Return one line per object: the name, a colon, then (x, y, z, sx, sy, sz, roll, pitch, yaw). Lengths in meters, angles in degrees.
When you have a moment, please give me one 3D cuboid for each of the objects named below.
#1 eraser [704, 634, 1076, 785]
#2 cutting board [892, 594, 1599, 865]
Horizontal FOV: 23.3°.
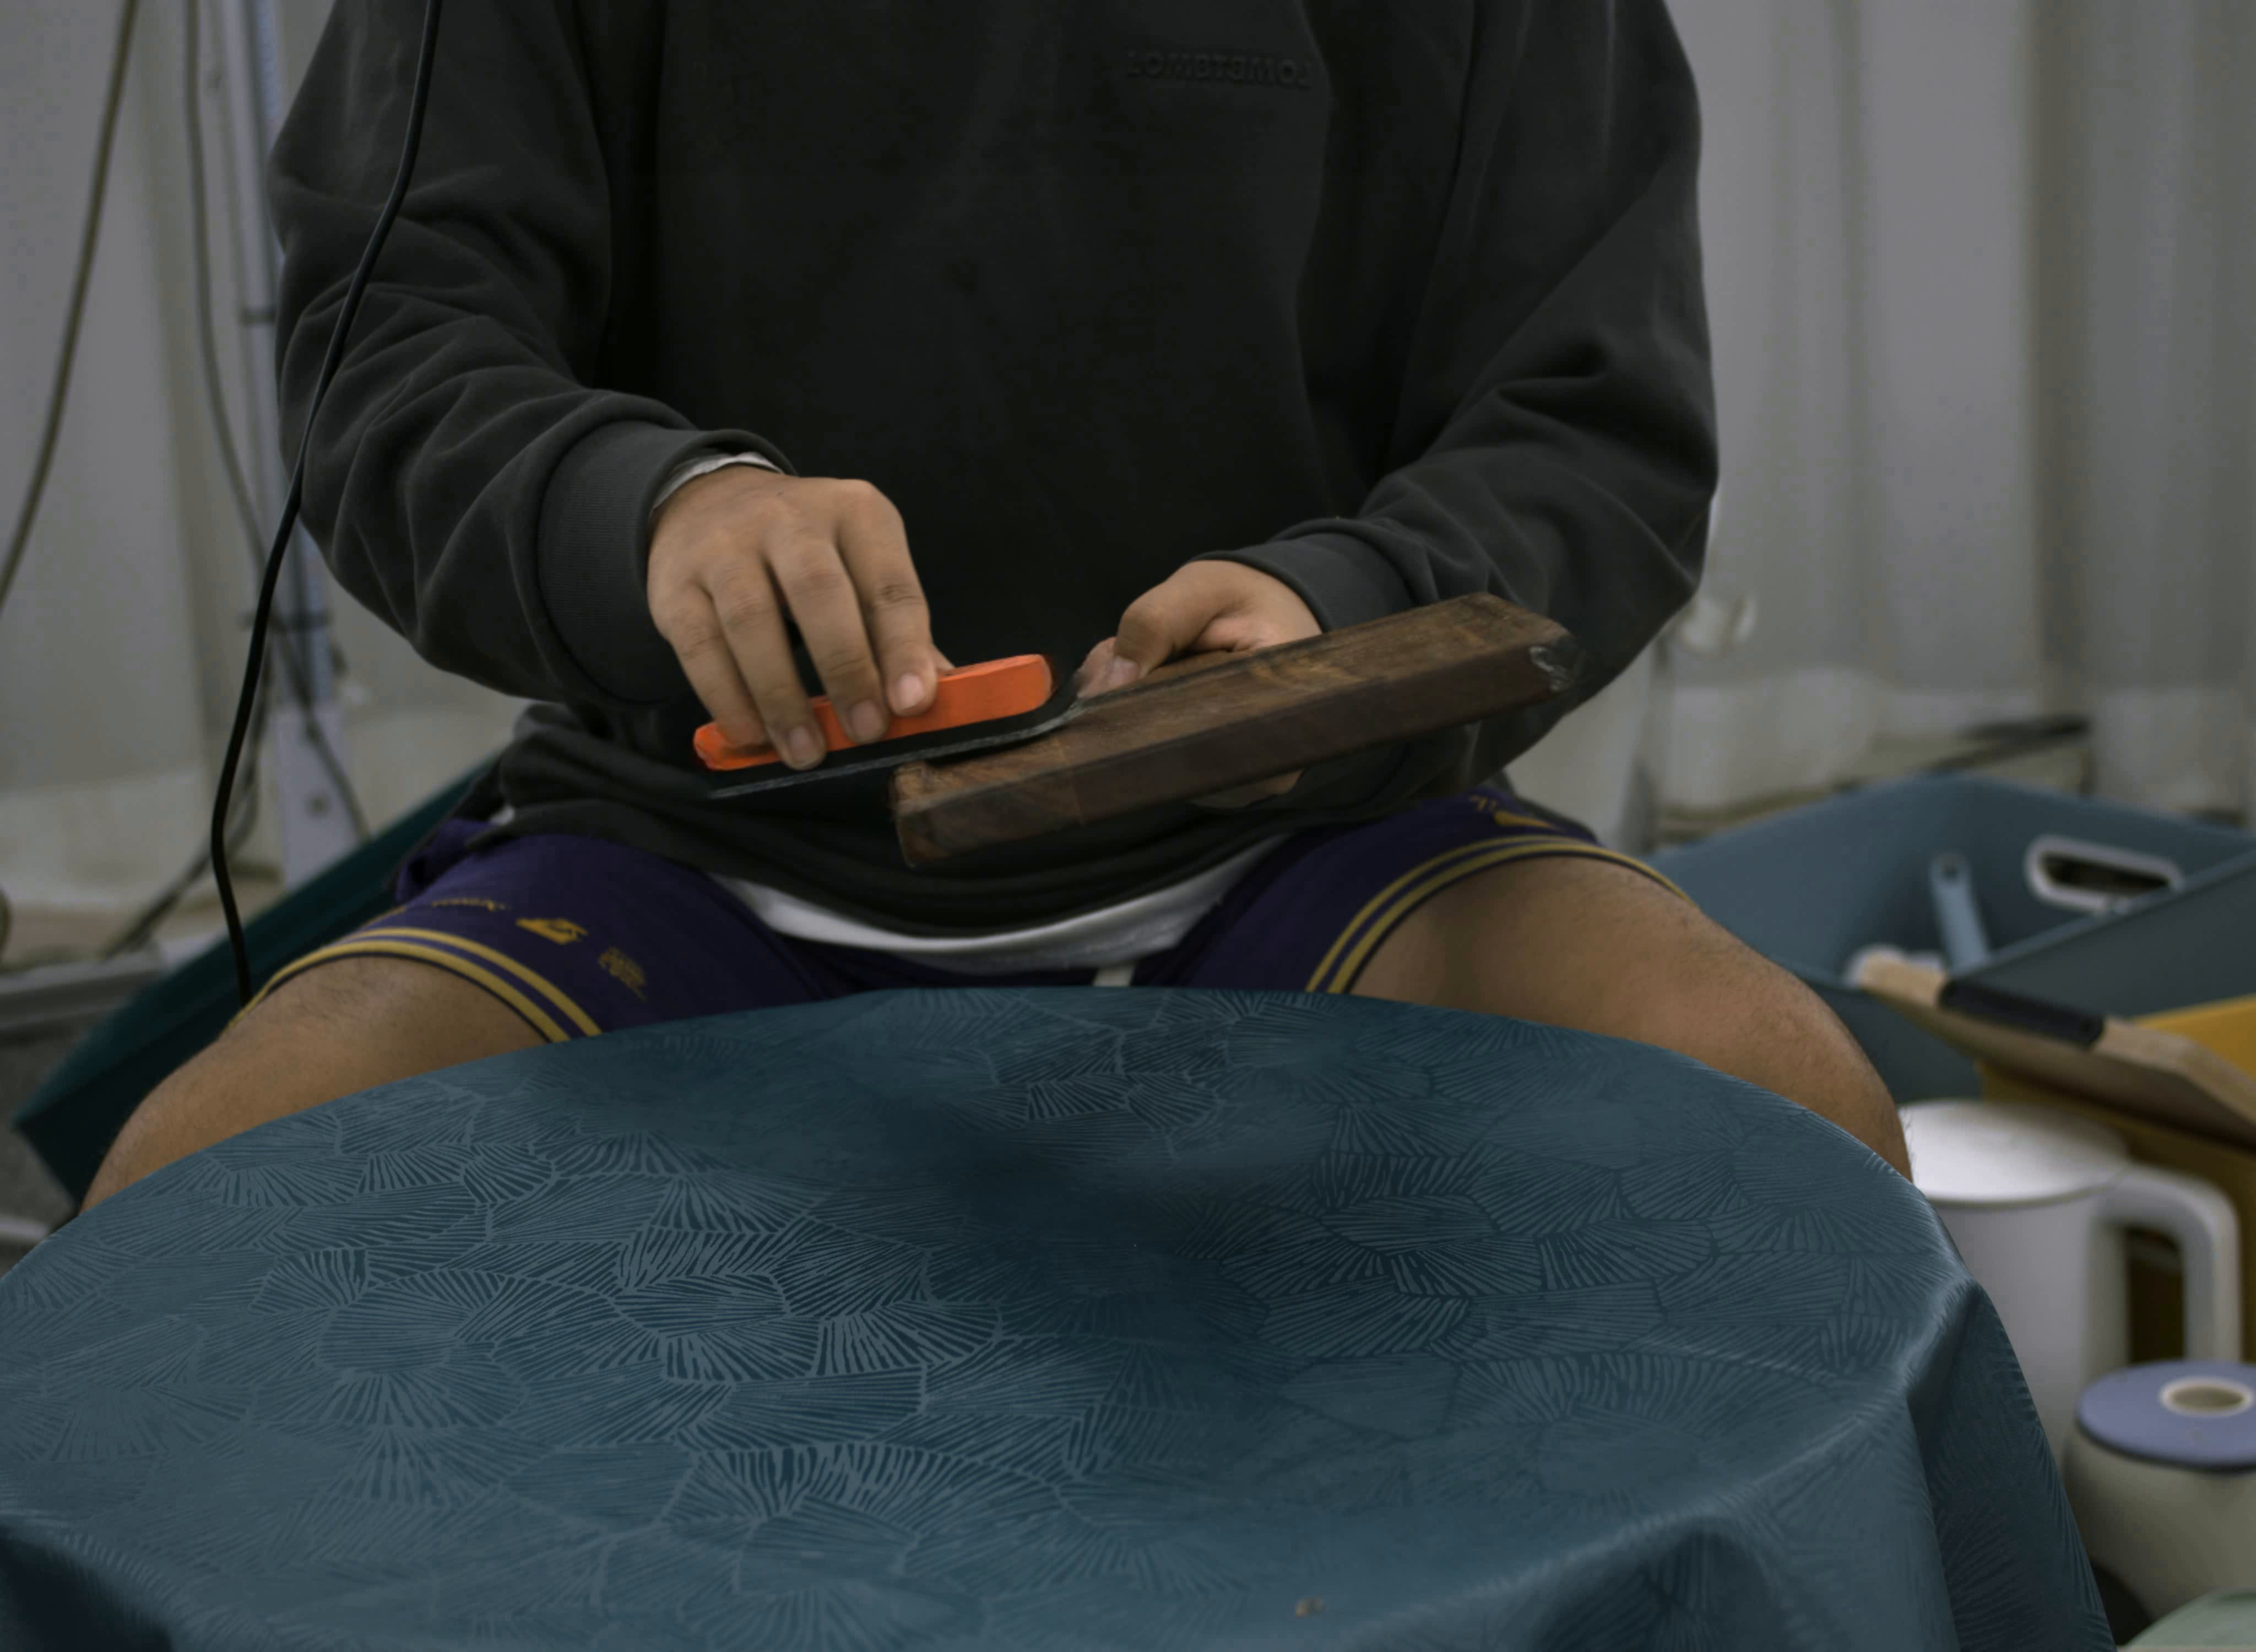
eraser: (-0.073, -0.036, 1.697, 0.108, 0.023, 0.059, -12, 3, 13)
cutting board: (0.026, -0.035, 1.678, 0.200, 0.023, 0.353, -15, 5, -1)
